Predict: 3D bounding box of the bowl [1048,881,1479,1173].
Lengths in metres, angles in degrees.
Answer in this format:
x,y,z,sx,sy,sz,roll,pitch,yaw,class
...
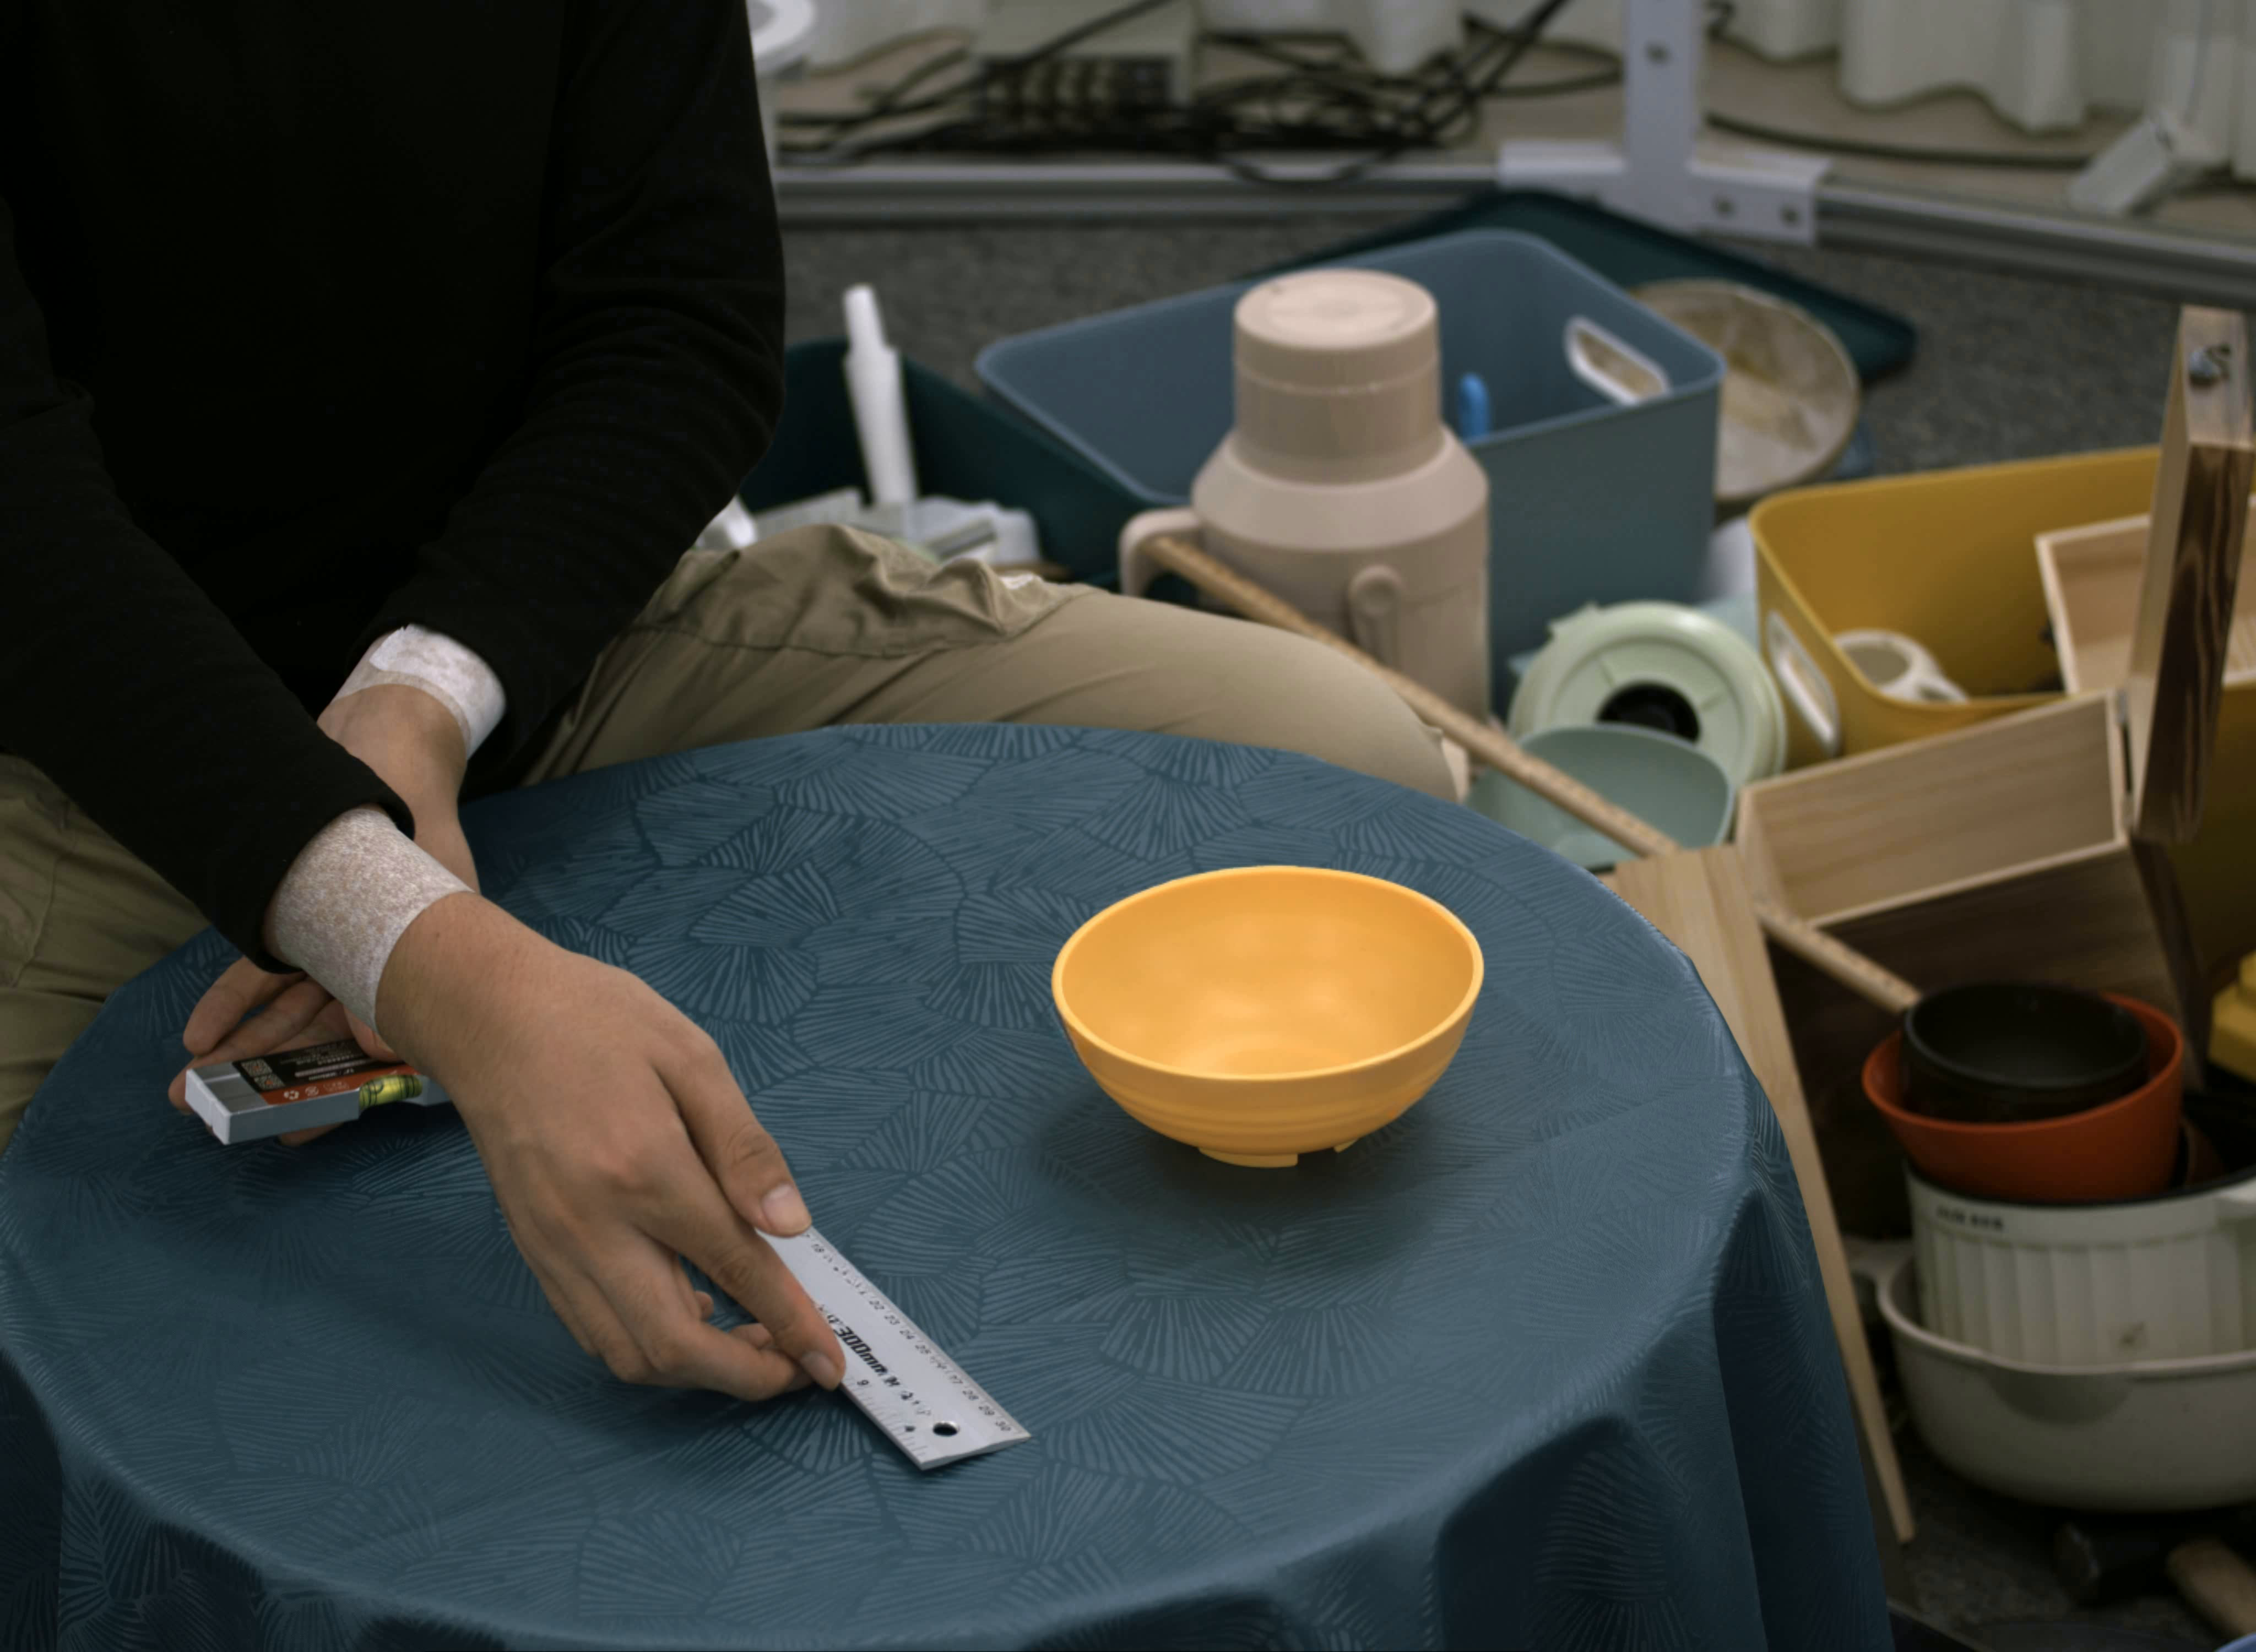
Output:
x,y,z,sx,sy,sz,roll,pitch,yaw,class
0.046,0.075,1.887,0.144,0.059,0.147,-1,24,1,bowl

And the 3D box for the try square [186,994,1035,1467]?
x,y,z,sx,sy,sz,roll,pitch,yaw,class
-0.174,0.139,1.814,0.153,0.016,0.314,-12,30,-29,try square
